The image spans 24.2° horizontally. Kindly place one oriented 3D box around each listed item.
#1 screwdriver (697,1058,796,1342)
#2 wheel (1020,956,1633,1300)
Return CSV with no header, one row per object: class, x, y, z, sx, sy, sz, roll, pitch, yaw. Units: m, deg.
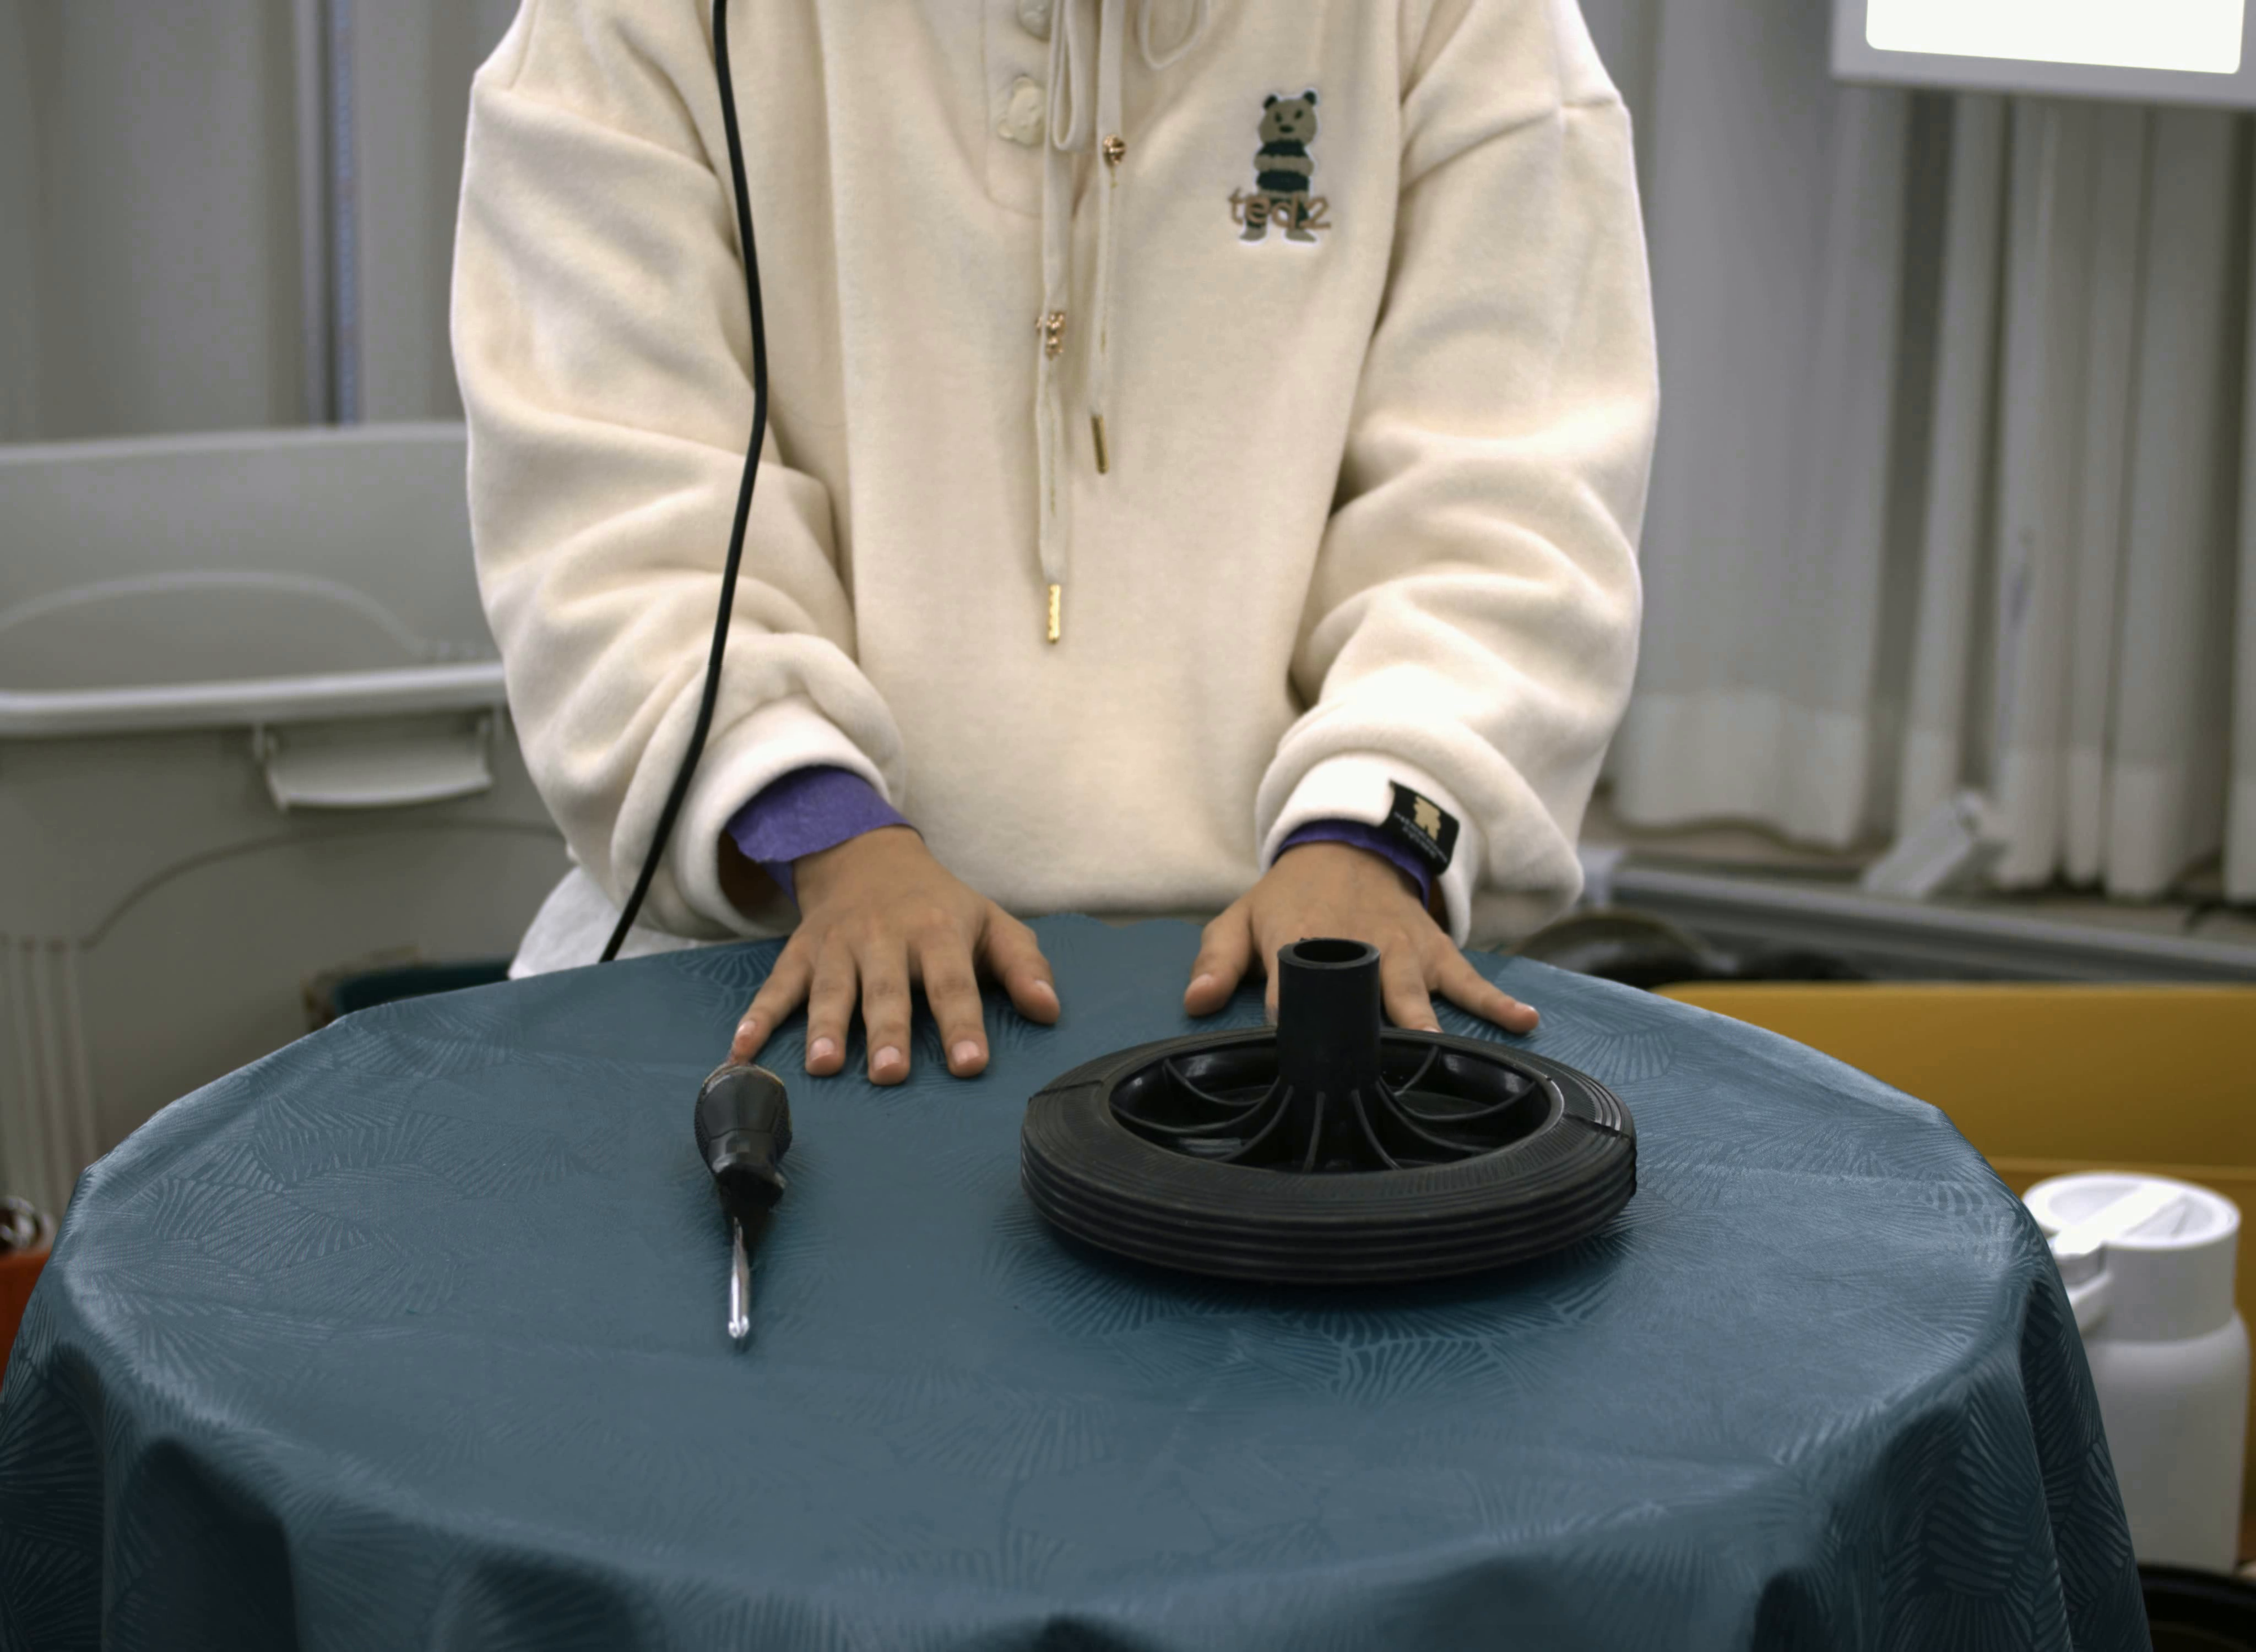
screwdriver,-0.112,0.112,1.574,0.031,0.032,0.195,-1,18,-6
wheel,0.059,0.082,1.595,0.191,0.080,0.185,-15,22,-40
